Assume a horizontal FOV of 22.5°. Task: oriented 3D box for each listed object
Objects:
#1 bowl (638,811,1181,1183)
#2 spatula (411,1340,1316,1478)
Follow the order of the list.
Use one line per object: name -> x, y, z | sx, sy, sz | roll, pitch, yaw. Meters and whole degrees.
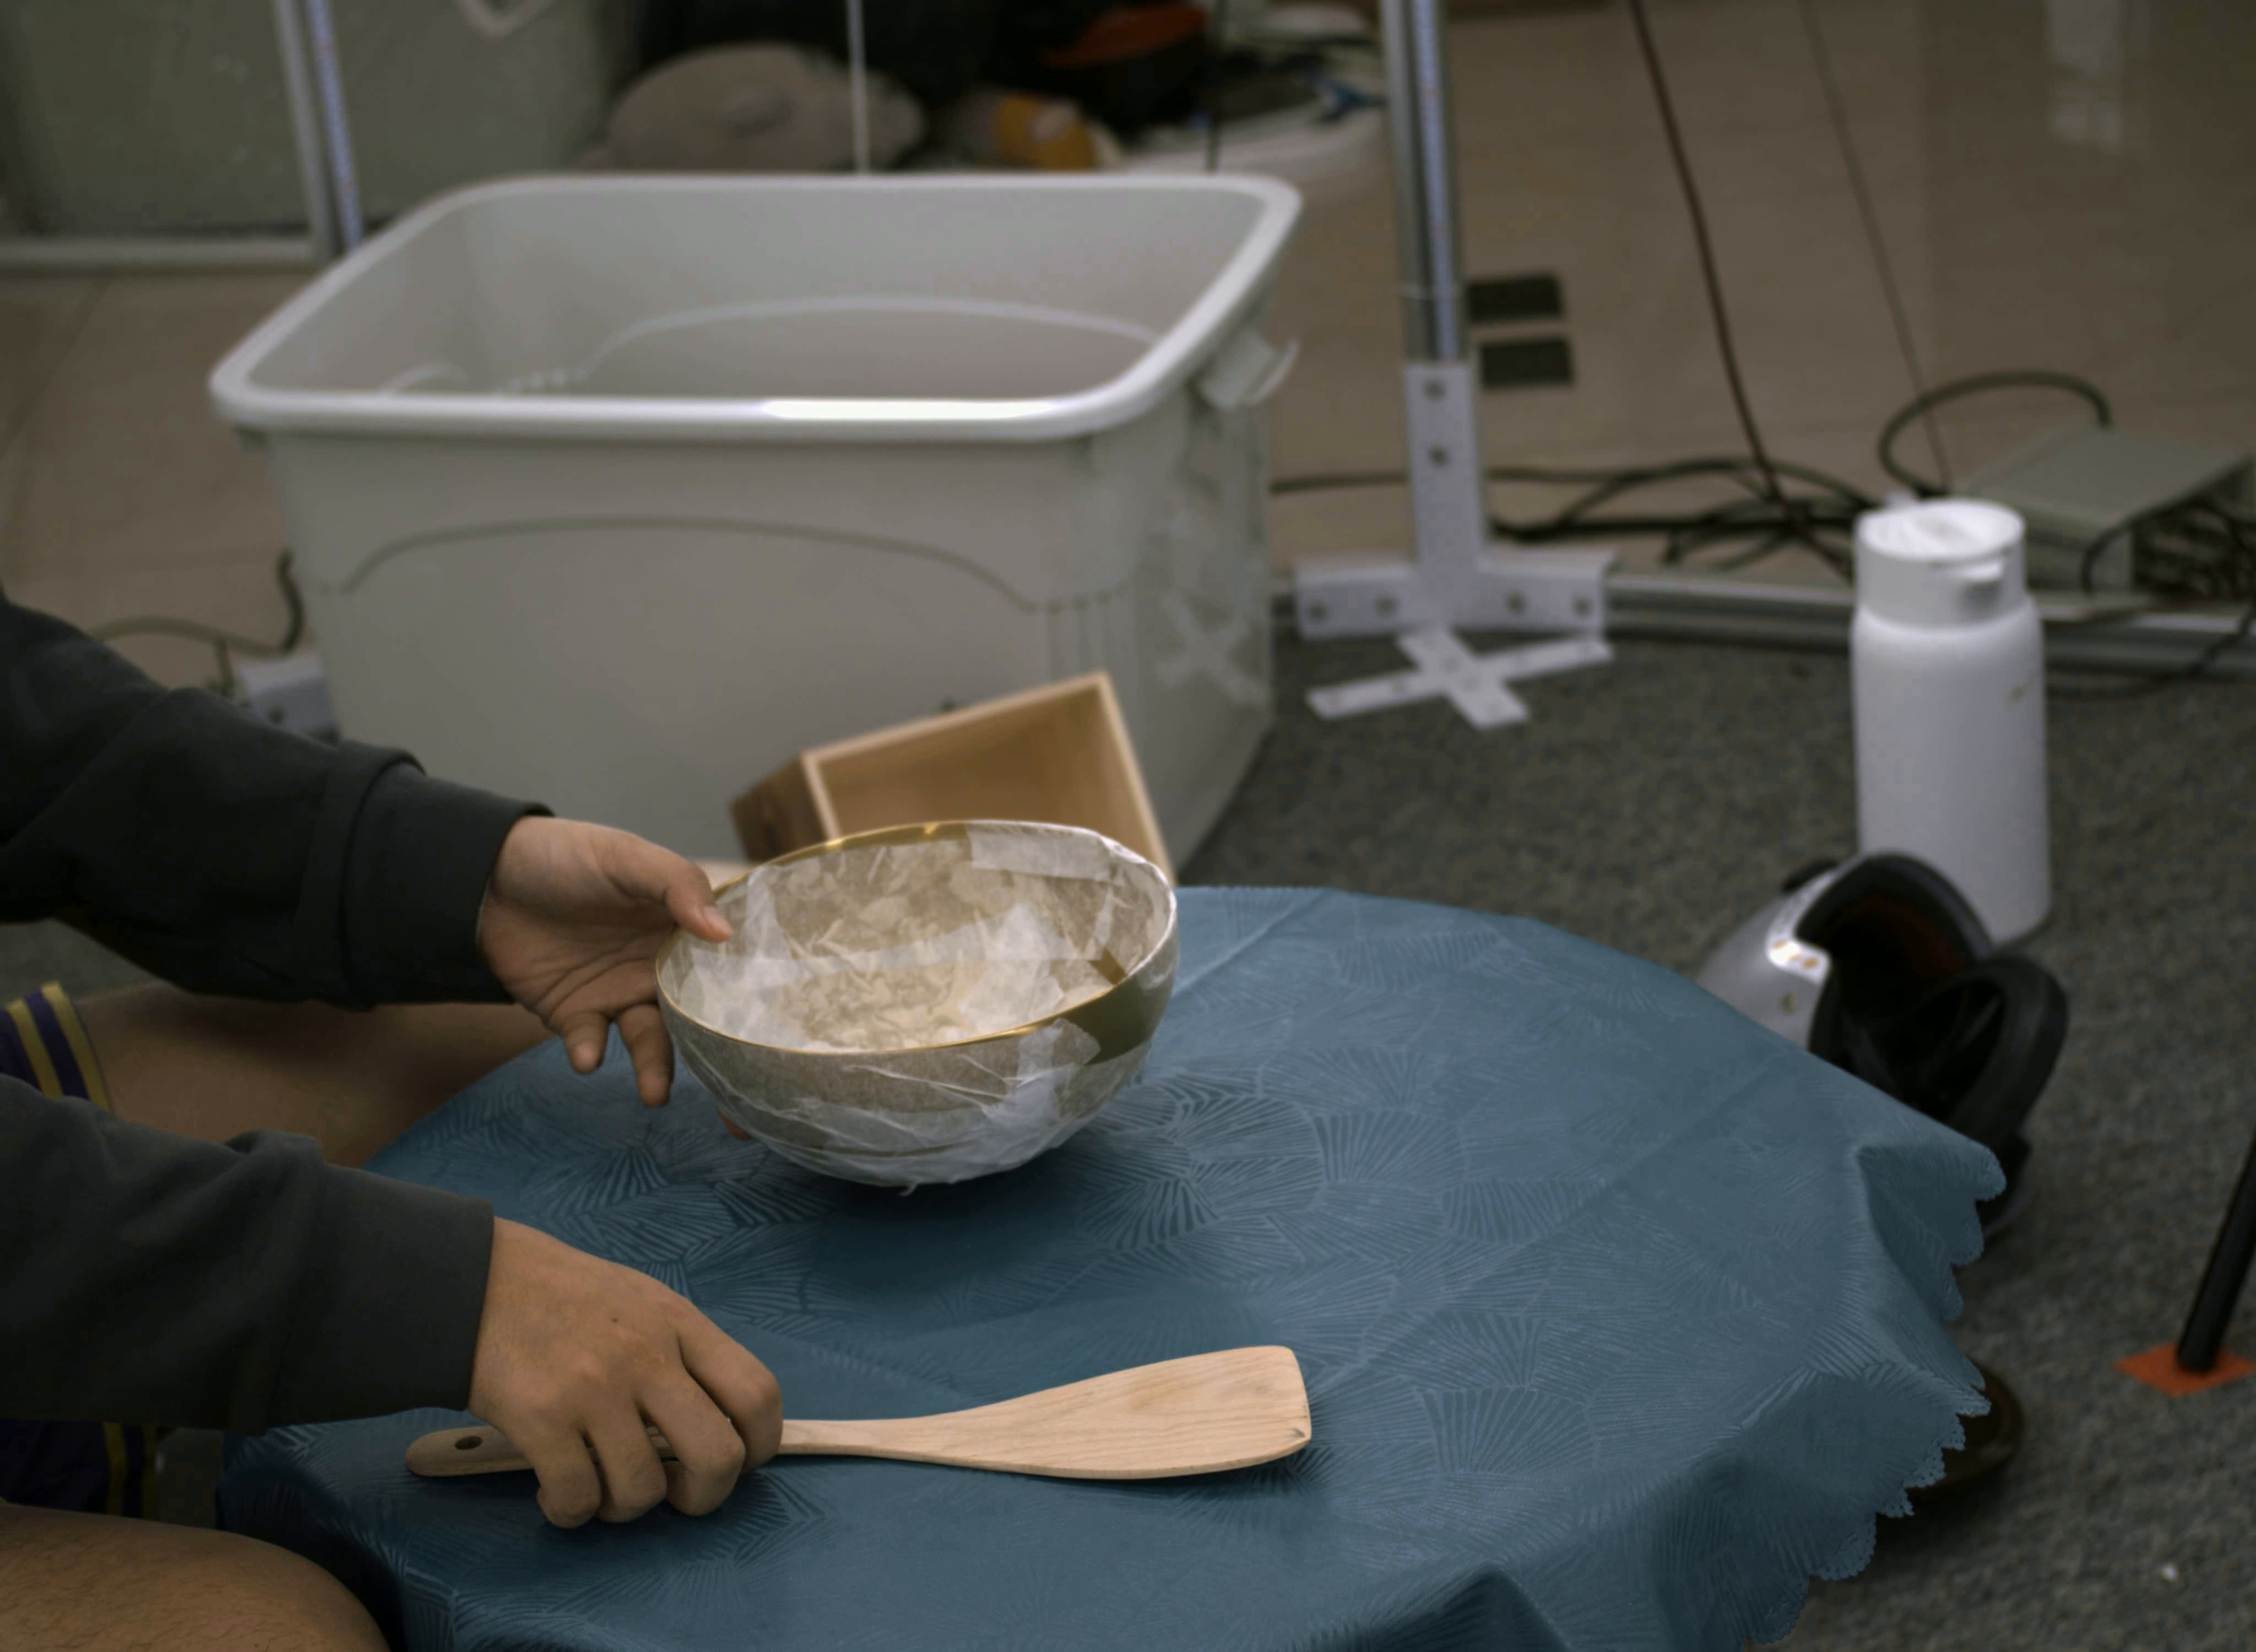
bowl -> -0.081, 0.078, 2.181 | 0.214, 0.096, 0.211 | -5, 26, 2
spatula -> -0.093, 0.210, 1.997 | 0.327, 0.017, 0.079 | -3, 25, 8
